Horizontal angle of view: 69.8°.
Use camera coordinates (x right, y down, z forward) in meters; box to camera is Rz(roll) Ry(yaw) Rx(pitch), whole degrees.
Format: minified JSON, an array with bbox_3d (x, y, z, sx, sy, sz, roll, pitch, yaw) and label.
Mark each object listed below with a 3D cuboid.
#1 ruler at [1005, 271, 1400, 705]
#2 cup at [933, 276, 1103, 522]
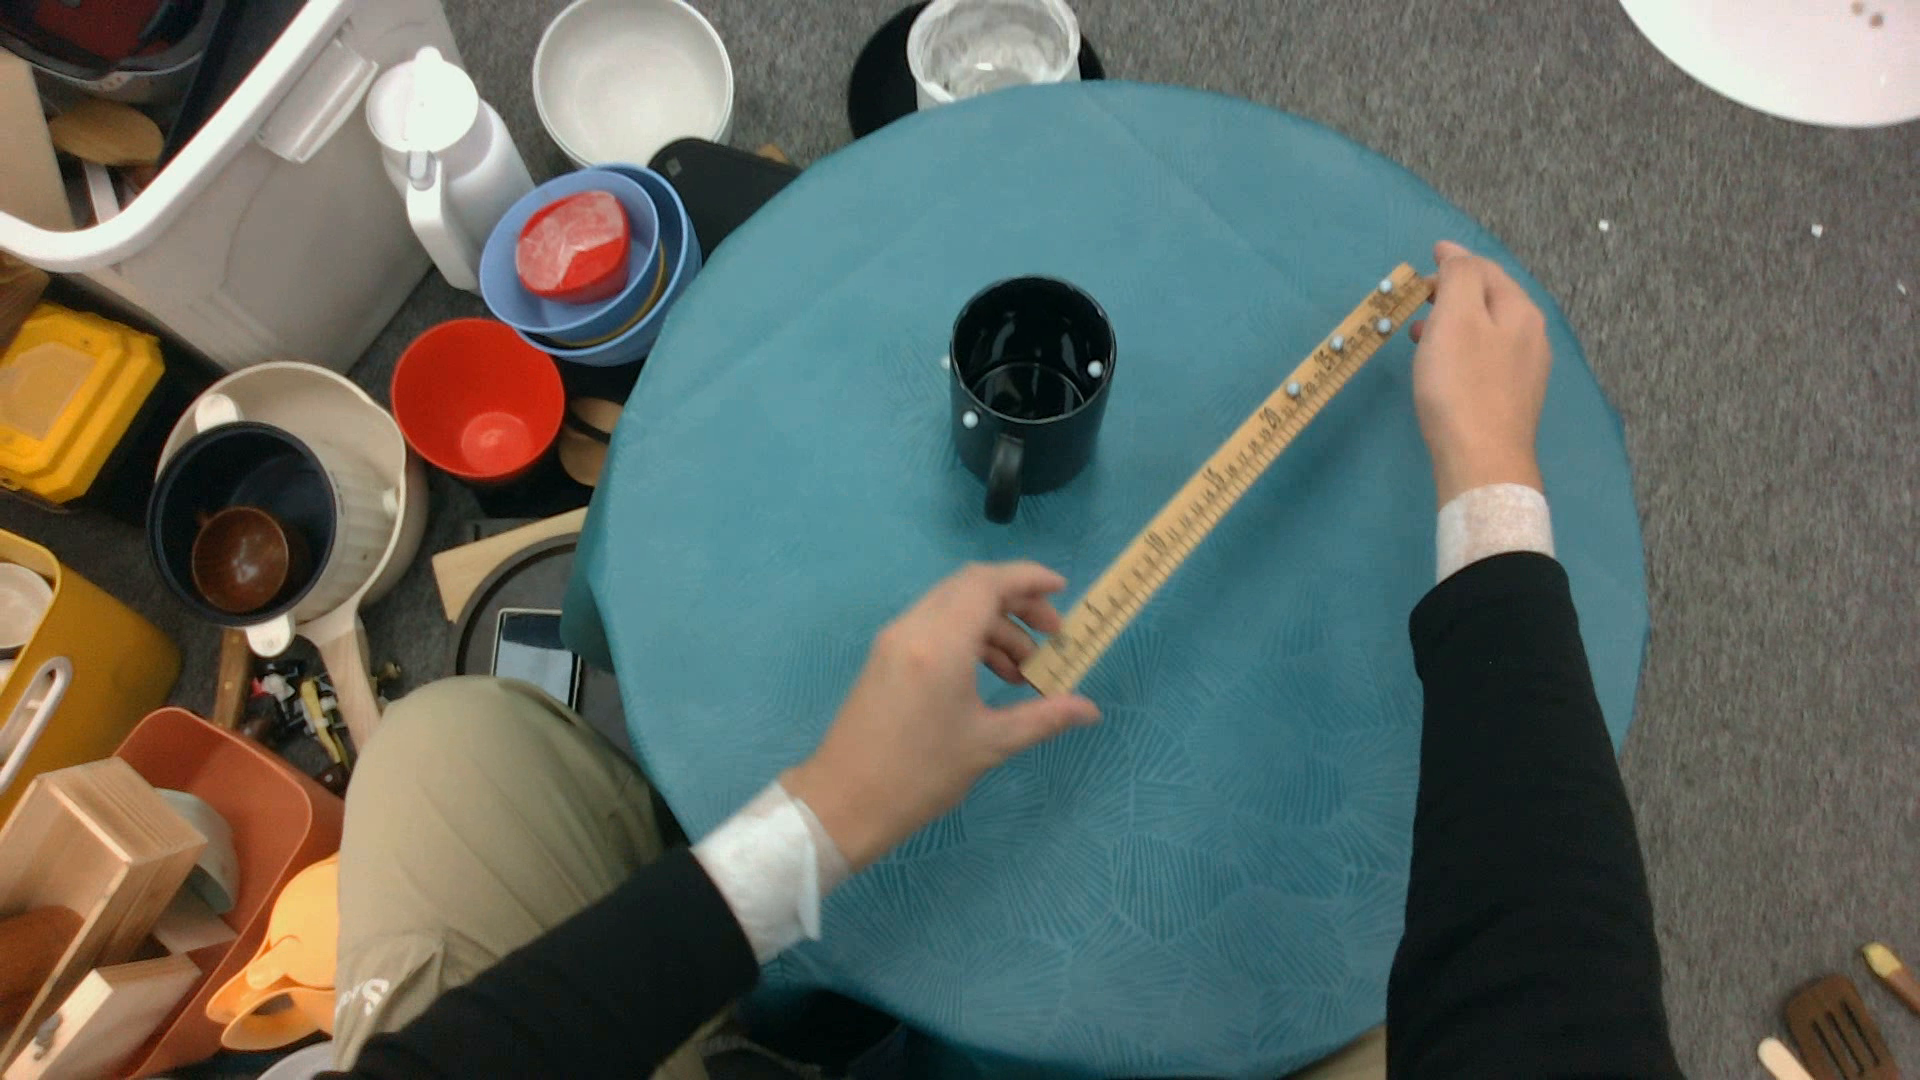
[{"bbox_3d":[0.140,-0.038,0.741,0.027,0.022,0.333,39,69,13],"label":"ruler"},{"bbox_3d":[0.025,-0.068,0.763,0.088,0.105,0.124,15,71,3],"label":"cup"}]
